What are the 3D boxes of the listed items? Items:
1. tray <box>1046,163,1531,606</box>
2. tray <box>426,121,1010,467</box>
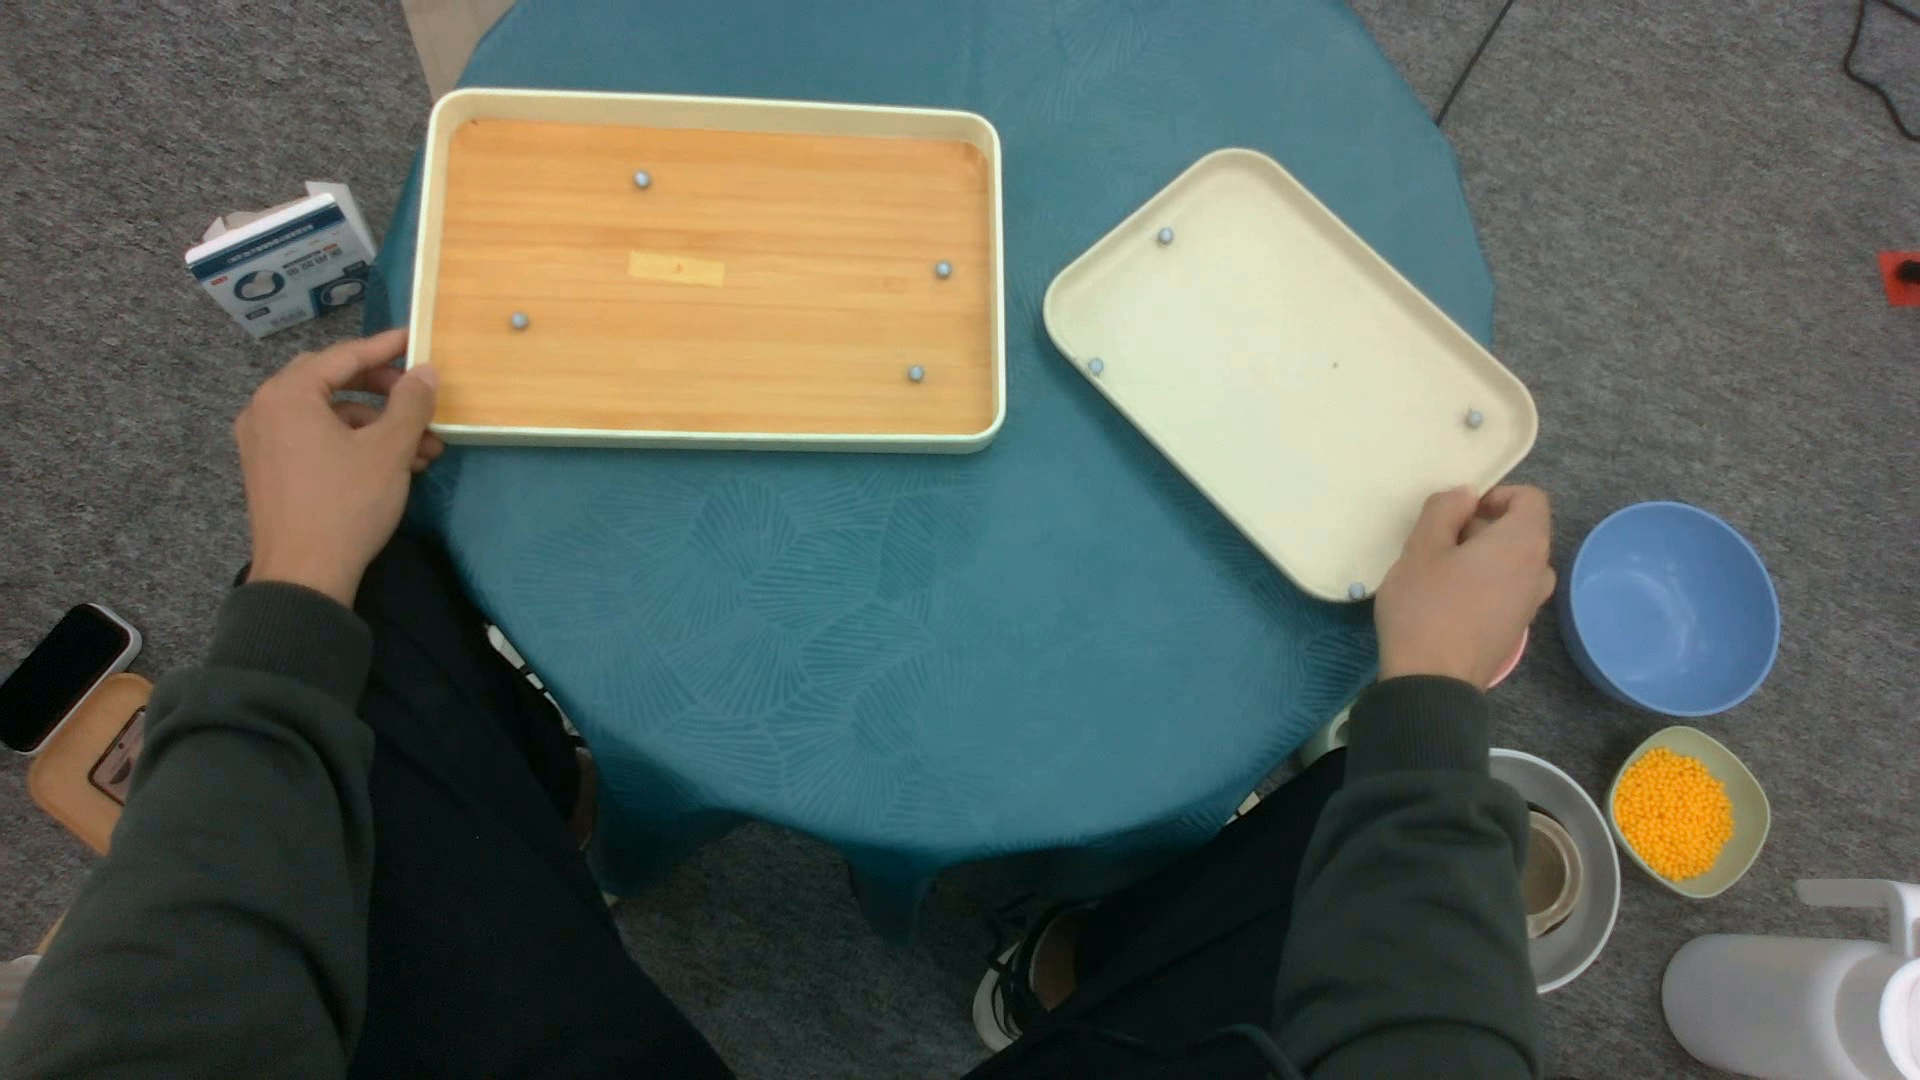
[{"bbox_3d":[0.177,-0.089,0.753,0.171,0.017,0.240,-41,76,-14],"label":"tray"},{"bbox_3d":[-0.126,-0.133,0.743,0.300,0.027,0.192,0,75,-5],"label":"tray"}]
